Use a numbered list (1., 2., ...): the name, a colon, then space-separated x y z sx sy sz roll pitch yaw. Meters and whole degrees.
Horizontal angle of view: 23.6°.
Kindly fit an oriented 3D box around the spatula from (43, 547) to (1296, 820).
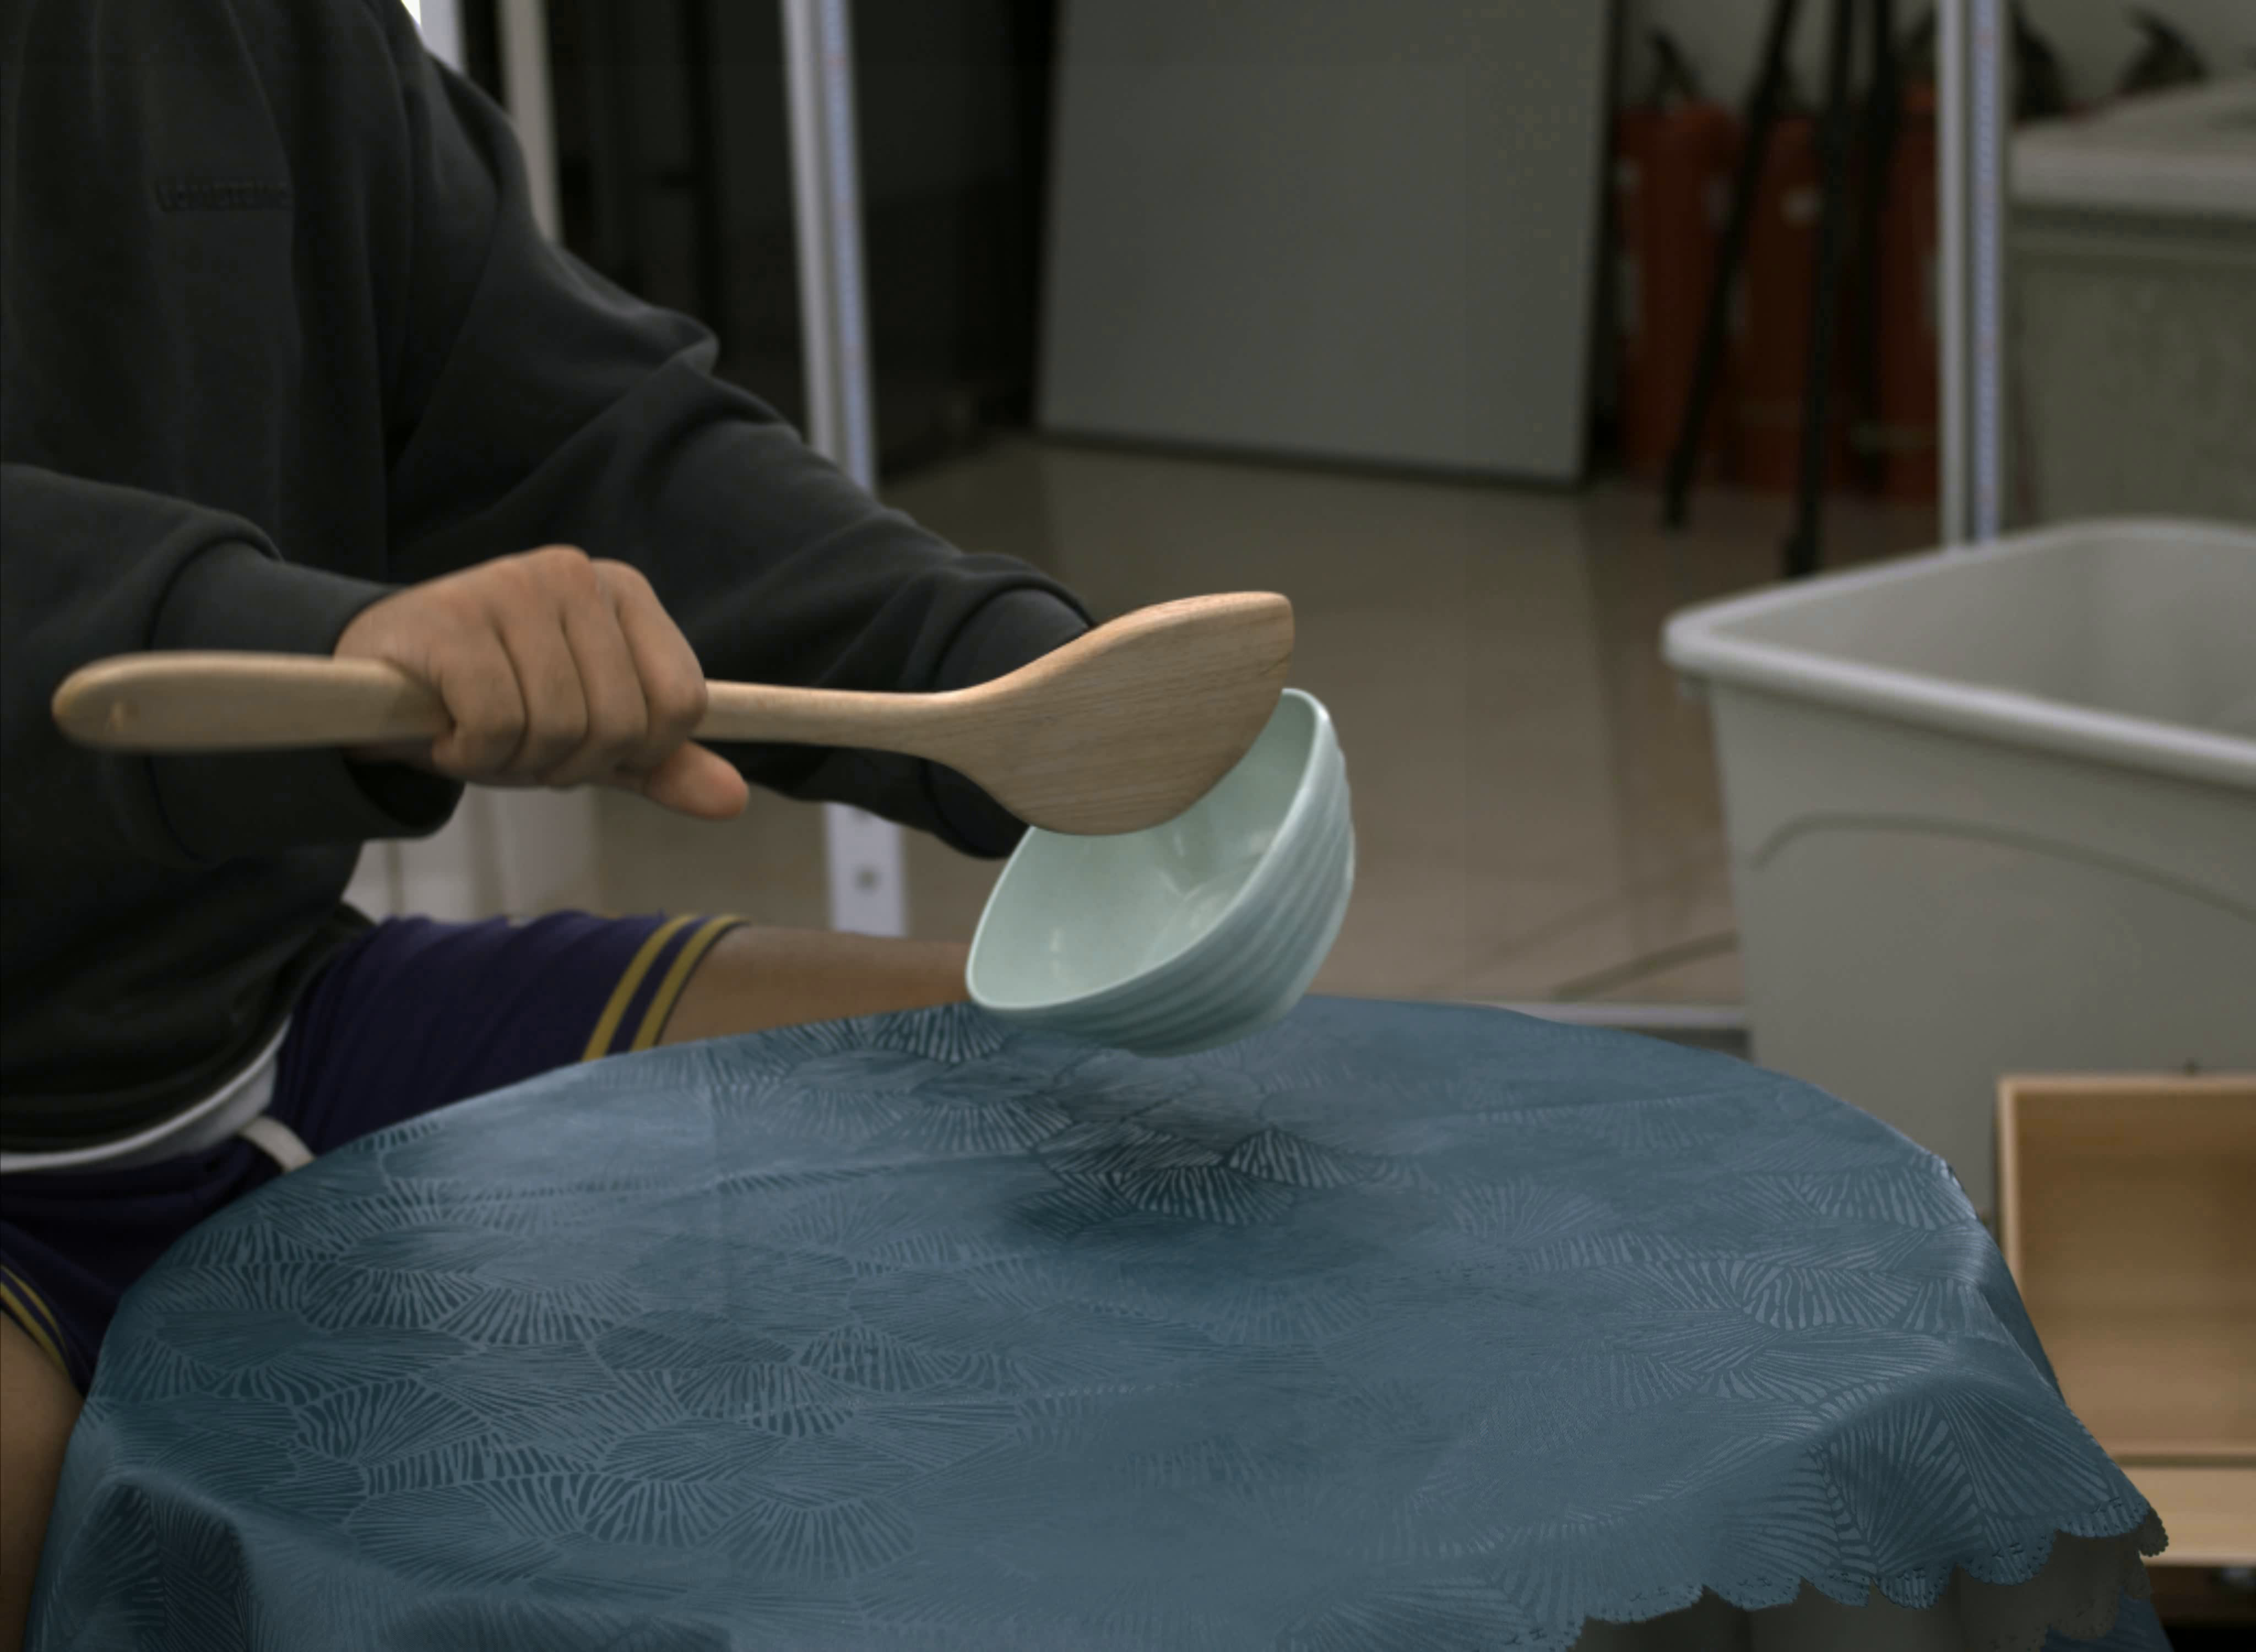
1. spatula: -0.120 -0.041 1.544 0.382 0.097 0.019 0 38 -27

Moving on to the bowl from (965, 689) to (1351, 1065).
1. bowl: 0.020 0.027 1.779 0.152 0.058 0.152 -34 27 19
